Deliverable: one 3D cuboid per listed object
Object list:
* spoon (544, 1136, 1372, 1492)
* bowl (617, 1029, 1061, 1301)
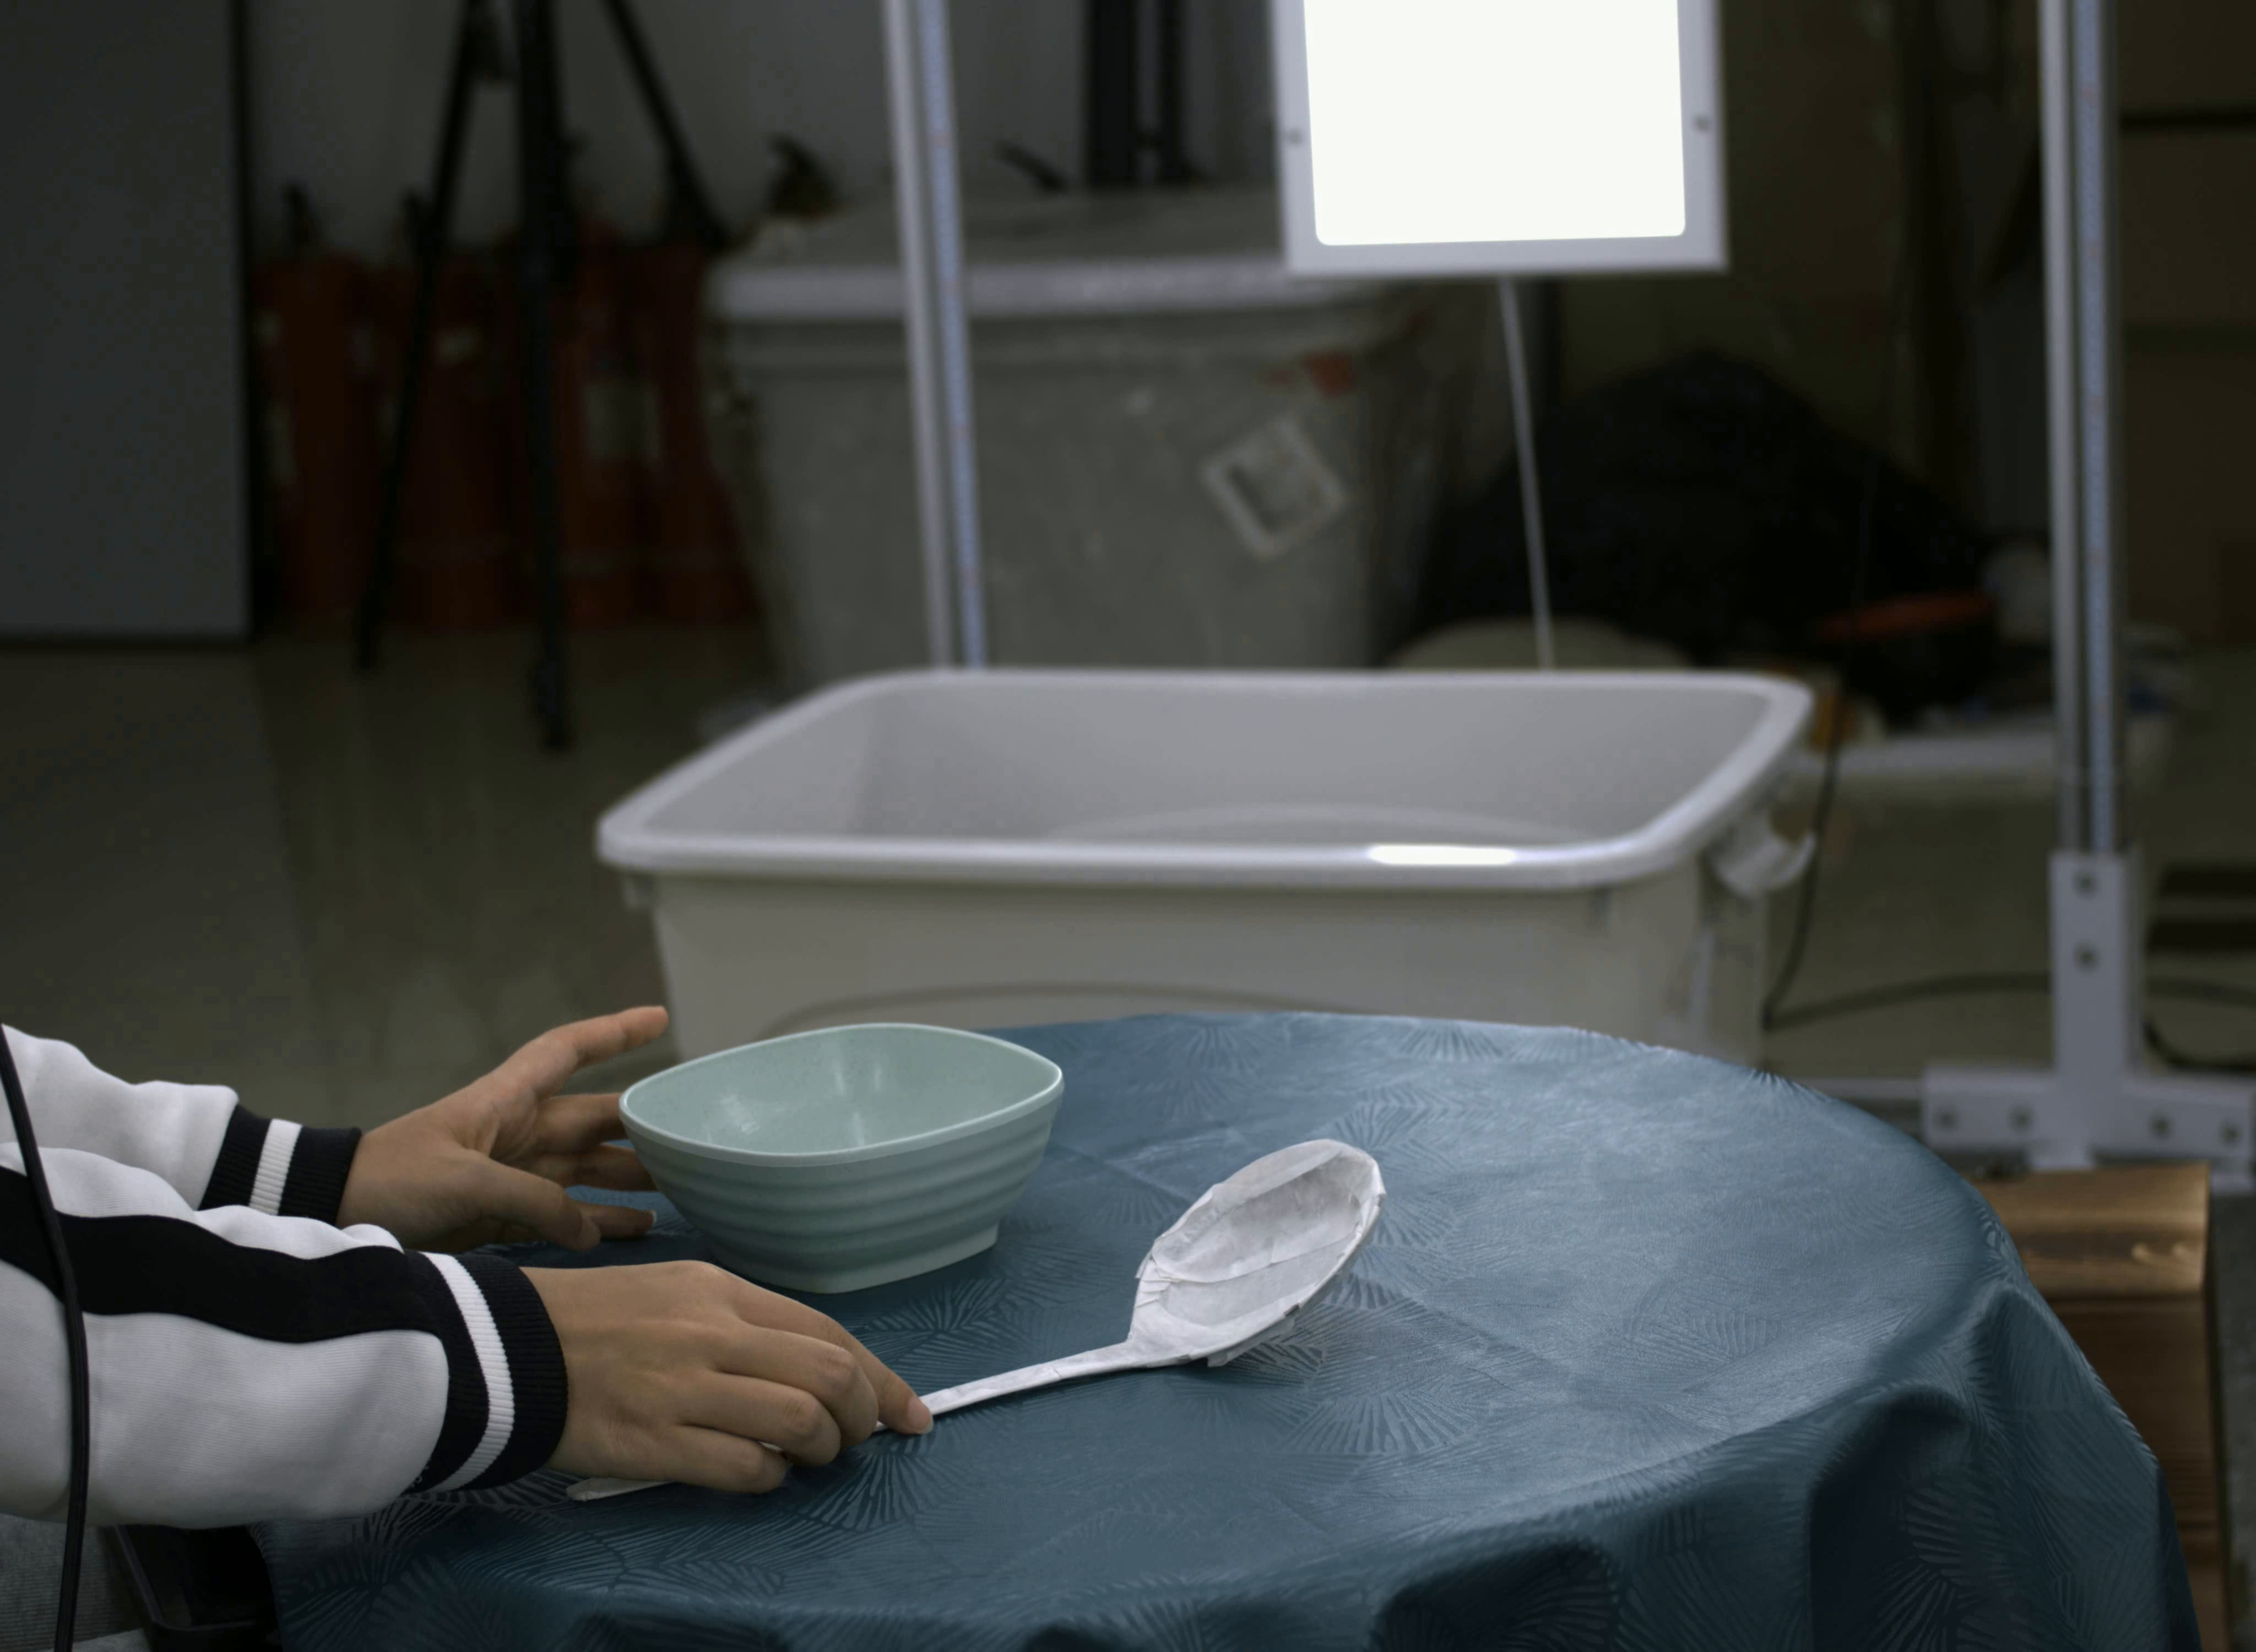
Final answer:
[{"bbox_3d":[-0.053,0.149,1.706,0.272,0.059,0.102,-10,10,-19],"label":"spoon"},{"bbox_3d":[-0.096,0.117,1.859,0.151,0.059,0.151,-4,14,0],"label":"bowl"}]
